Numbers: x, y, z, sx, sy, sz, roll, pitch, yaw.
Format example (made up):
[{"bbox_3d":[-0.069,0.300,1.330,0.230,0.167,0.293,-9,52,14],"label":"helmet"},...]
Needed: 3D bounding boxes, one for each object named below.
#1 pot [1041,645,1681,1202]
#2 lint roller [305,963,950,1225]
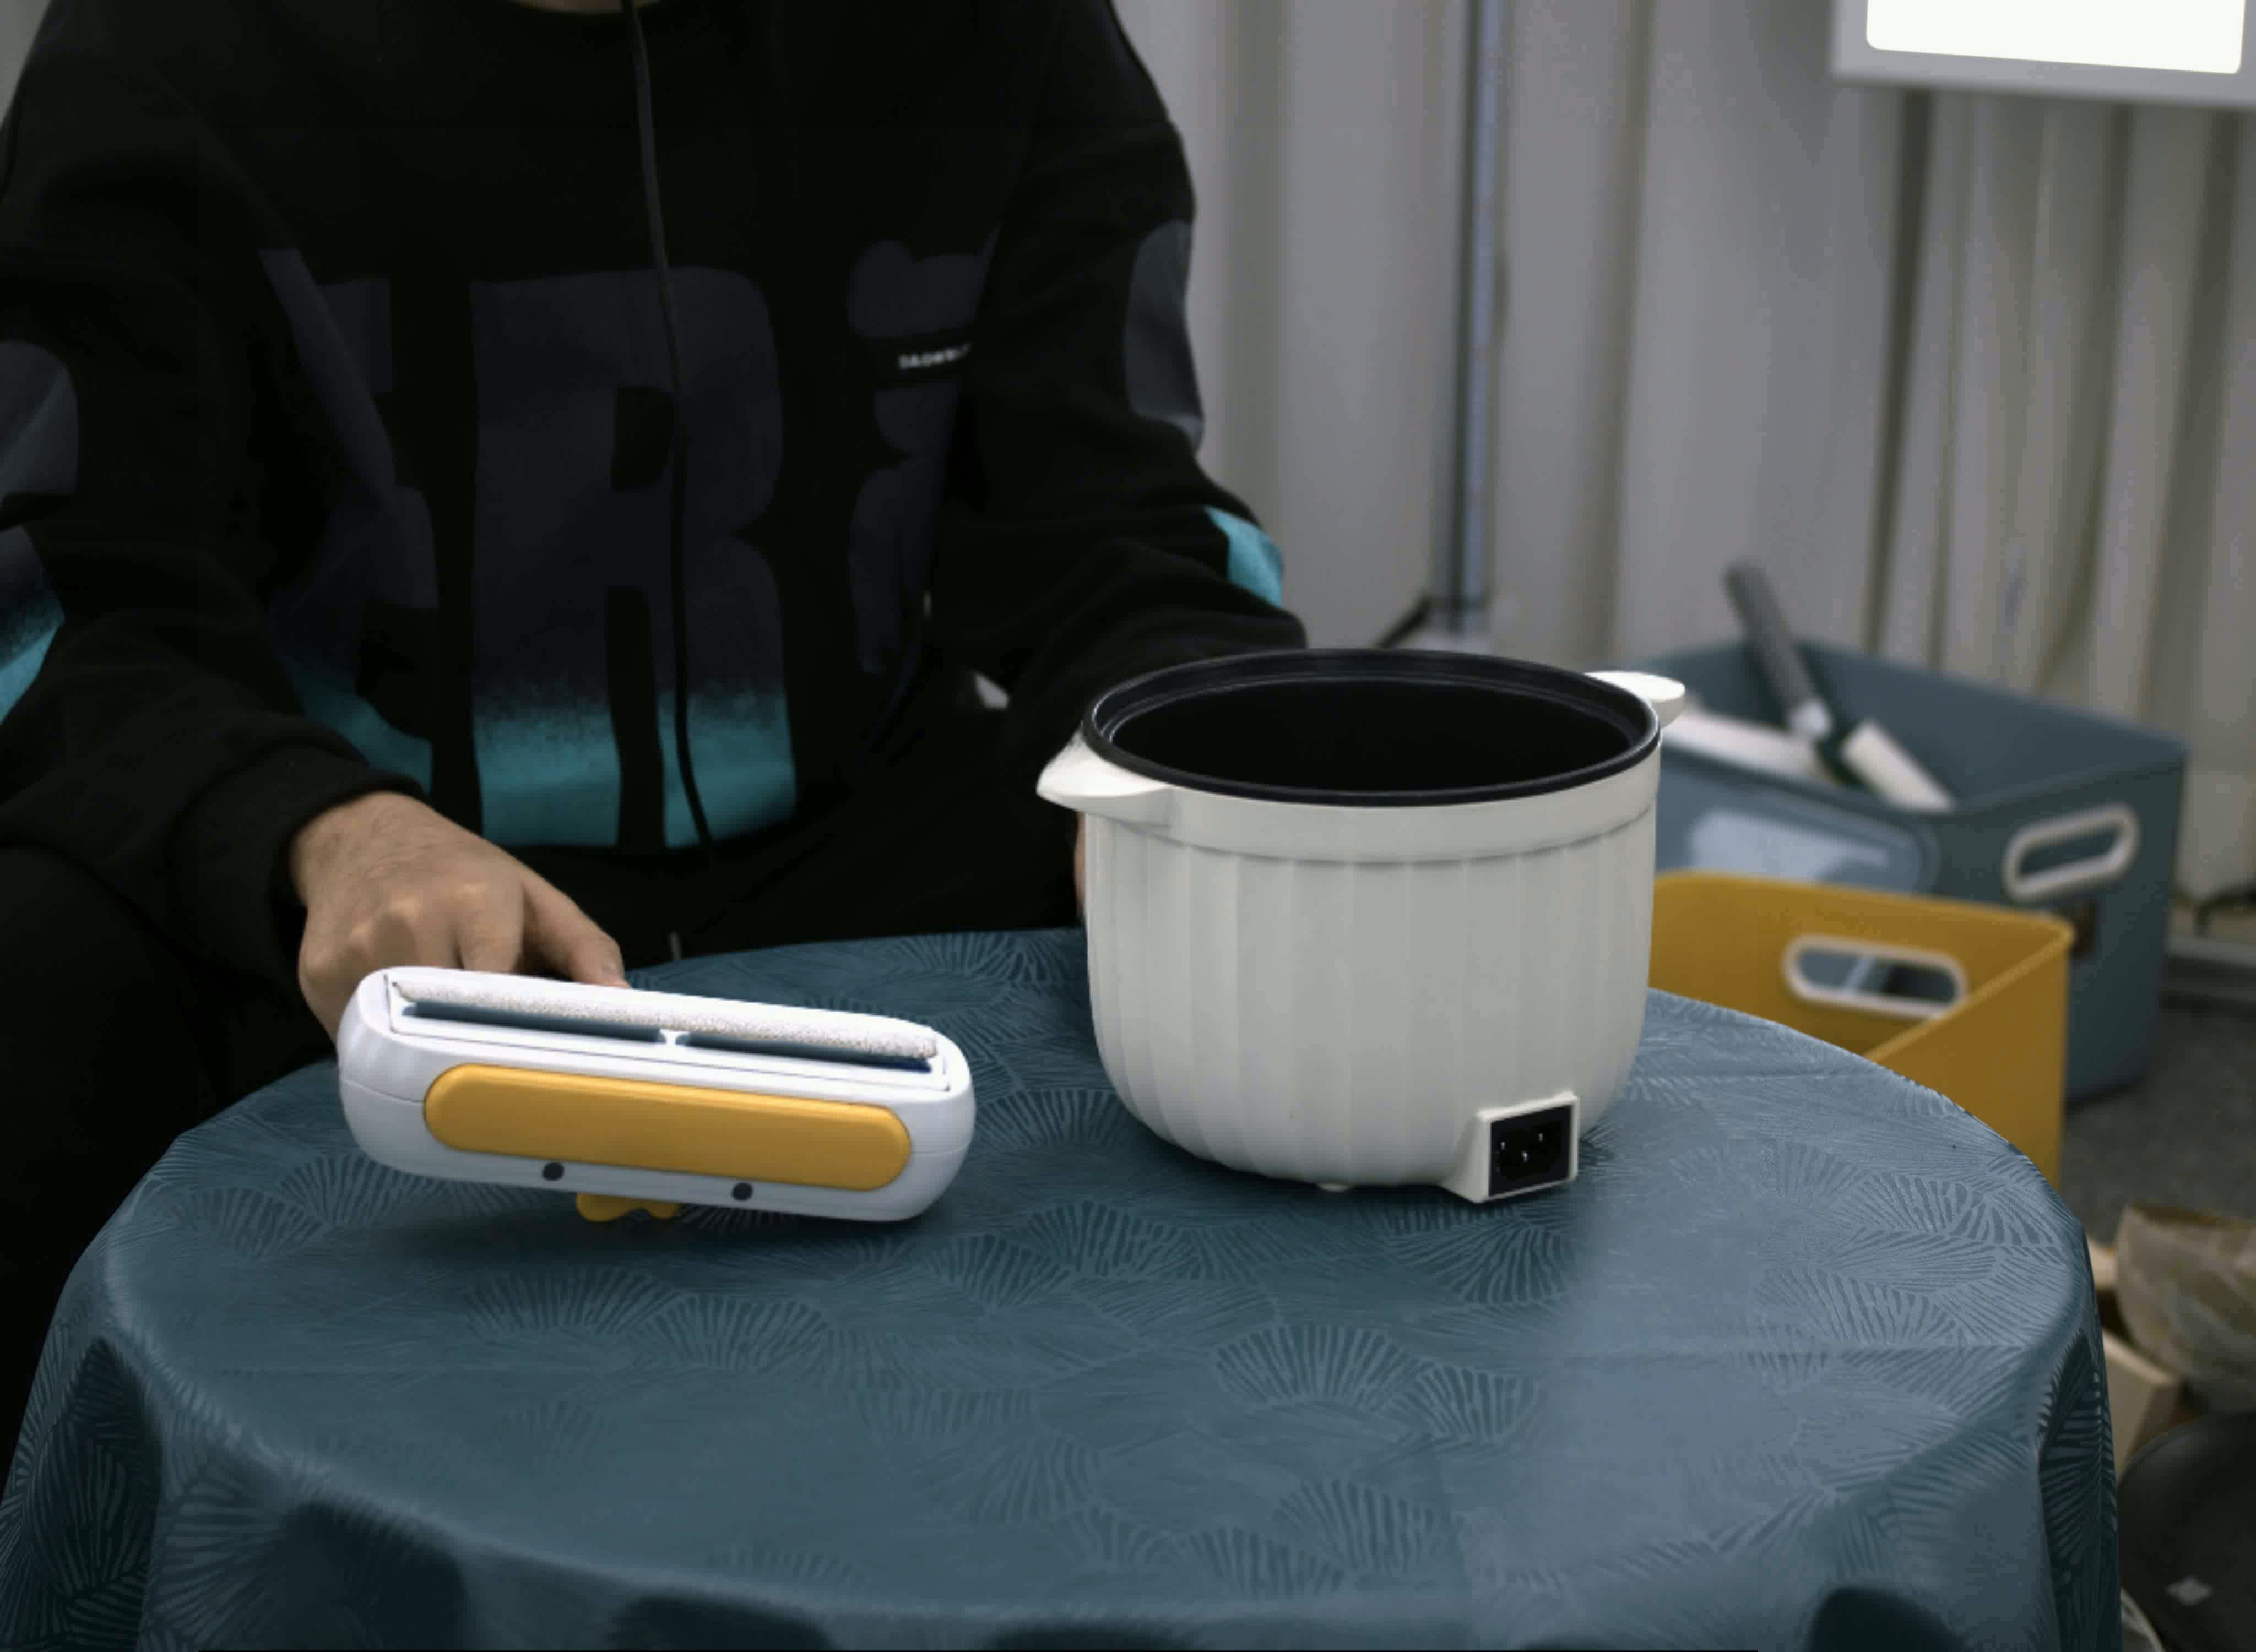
[{"bbox_3d":[0.071,0.028,1.662,0.241,0.144,0.188,-9,21,-34],"label":"pot"},{"bbox_3d":[-0.158,0.072,1.631,0.193,0.075,0.191,3,13,-9],"label":"lint roller"}]
